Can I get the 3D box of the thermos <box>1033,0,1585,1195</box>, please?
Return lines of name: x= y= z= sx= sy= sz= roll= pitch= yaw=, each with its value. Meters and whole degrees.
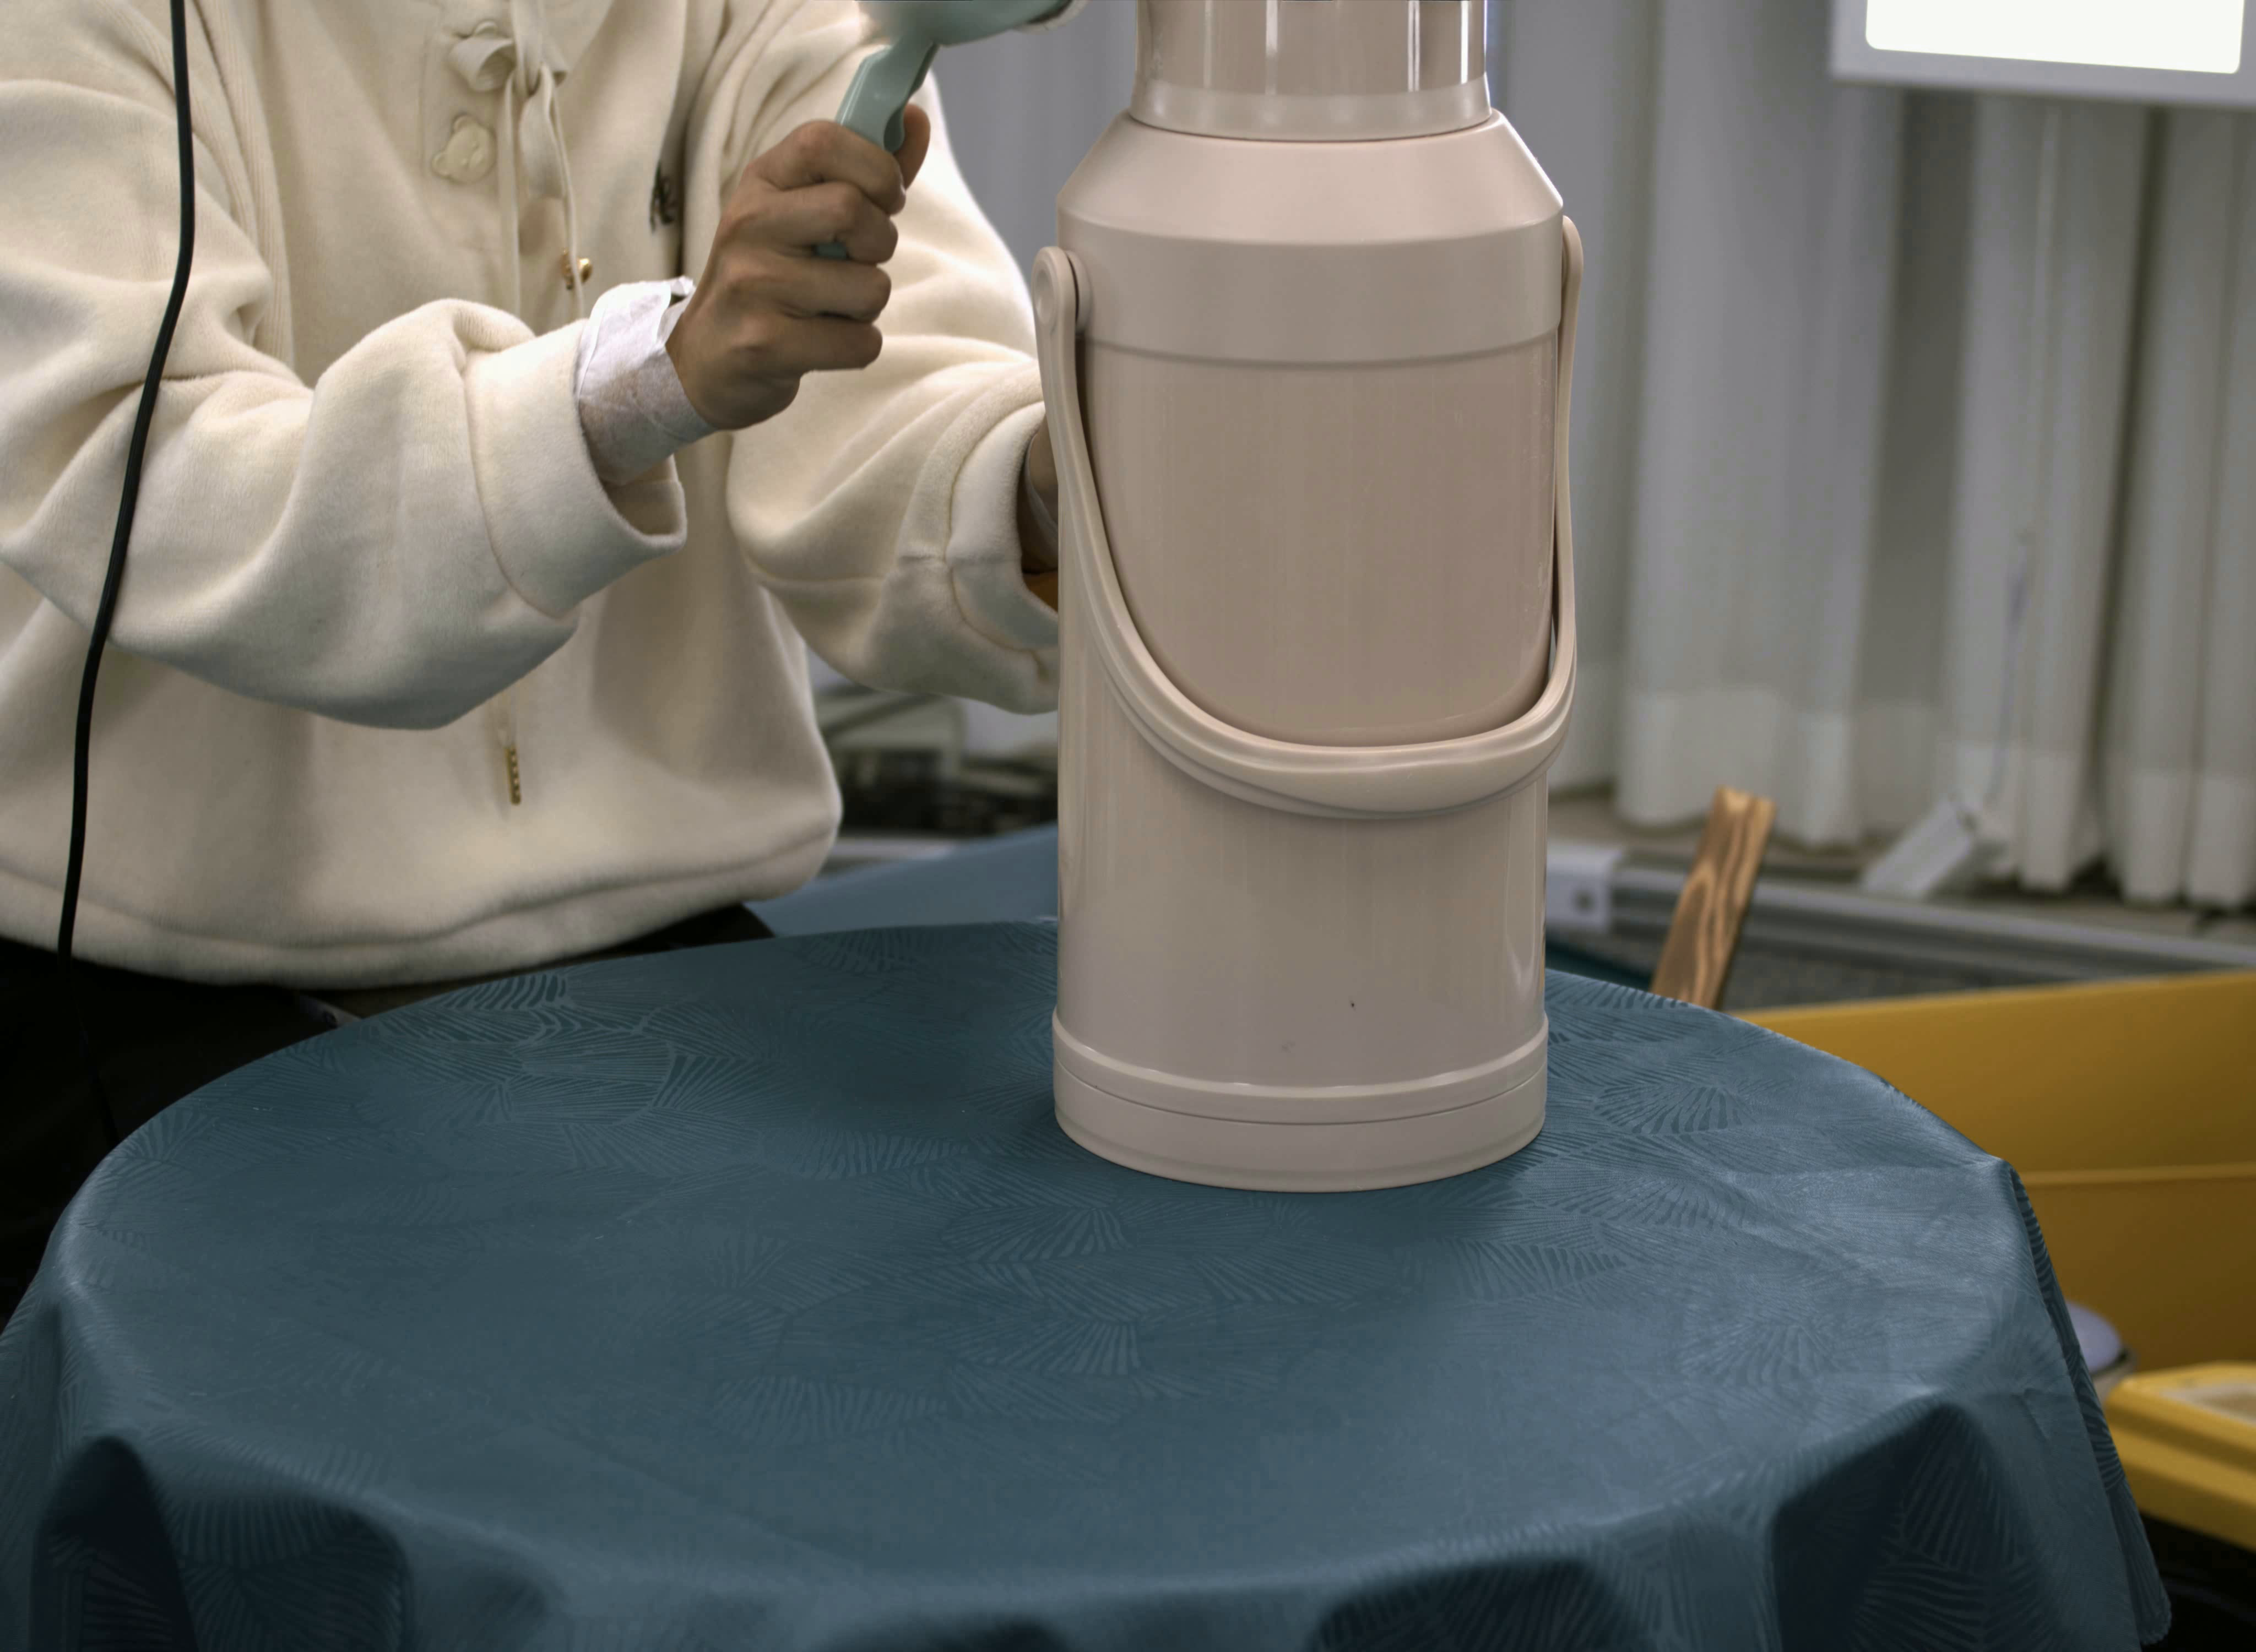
thermos: x=0.051 y=-0.102 z=1.651 sx=0.176 sy=0.409 sz=0.204 roll=-6 pitch=17 yaw=-21

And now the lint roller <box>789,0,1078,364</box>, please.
lint roller: x=-0.059 y=-0.230 z=1.636 sx=0.048 sy=0.198 sz=0.116 roll=37 pitch=27 yaw=-4
